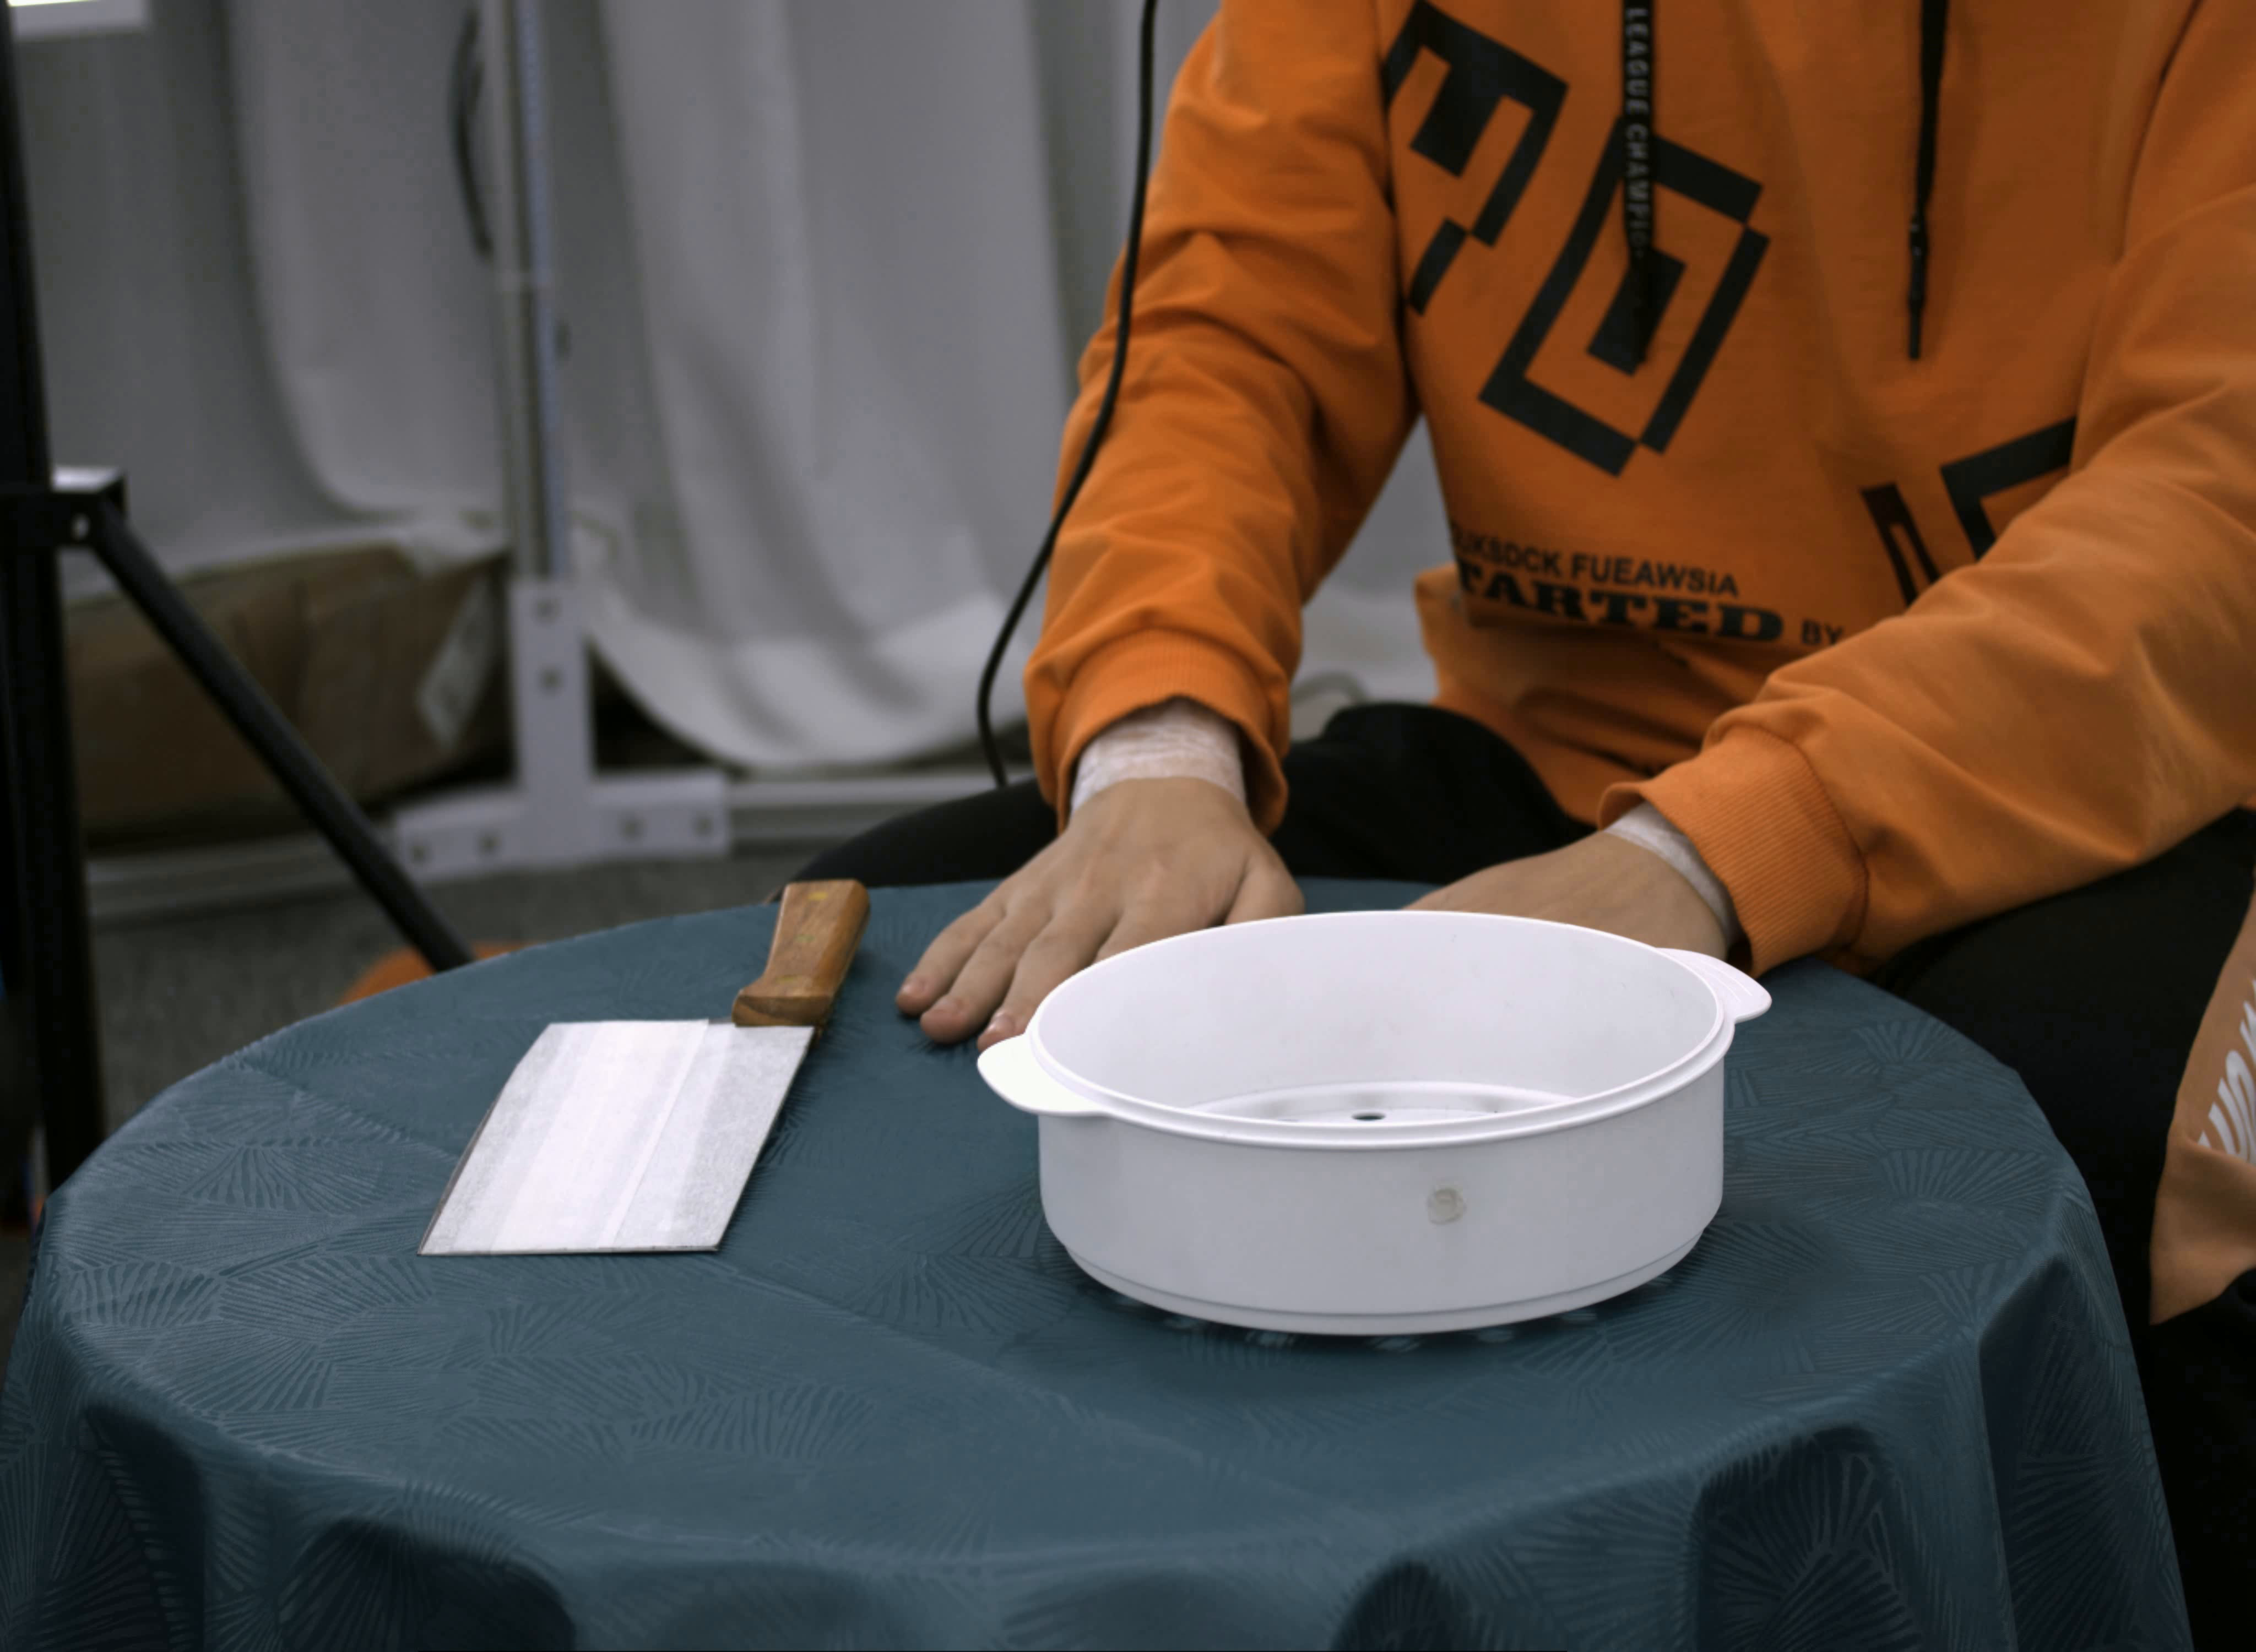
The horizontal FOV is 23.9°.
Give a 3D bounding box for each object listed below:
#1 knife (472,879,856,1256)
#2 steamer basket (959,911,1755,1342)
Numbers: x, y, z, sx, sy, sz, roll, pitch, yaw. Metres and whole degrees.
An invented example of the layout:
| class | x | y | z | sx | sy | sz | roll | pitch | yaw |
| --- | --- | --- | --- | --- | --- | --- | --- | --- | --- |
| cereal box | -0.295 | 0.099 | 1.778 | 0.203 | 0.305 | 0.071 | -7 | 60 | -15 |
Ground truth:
| class | x | y | z | sx | sy | sz | roll | pitch | yaw |
| --- | --- | --- | --- | --- | --- | --- | --- | --- | --- |
| knife | -0.144 | 0.074 | 1.673 | 0.093 | 0.021 | 0.305 | -3 | 18 | 7 |
| steamer basket | 0.067 | 0.085 | 1.501 | 0.227 | 0.069 | 0.205 | -9 | 16 | -15 |
